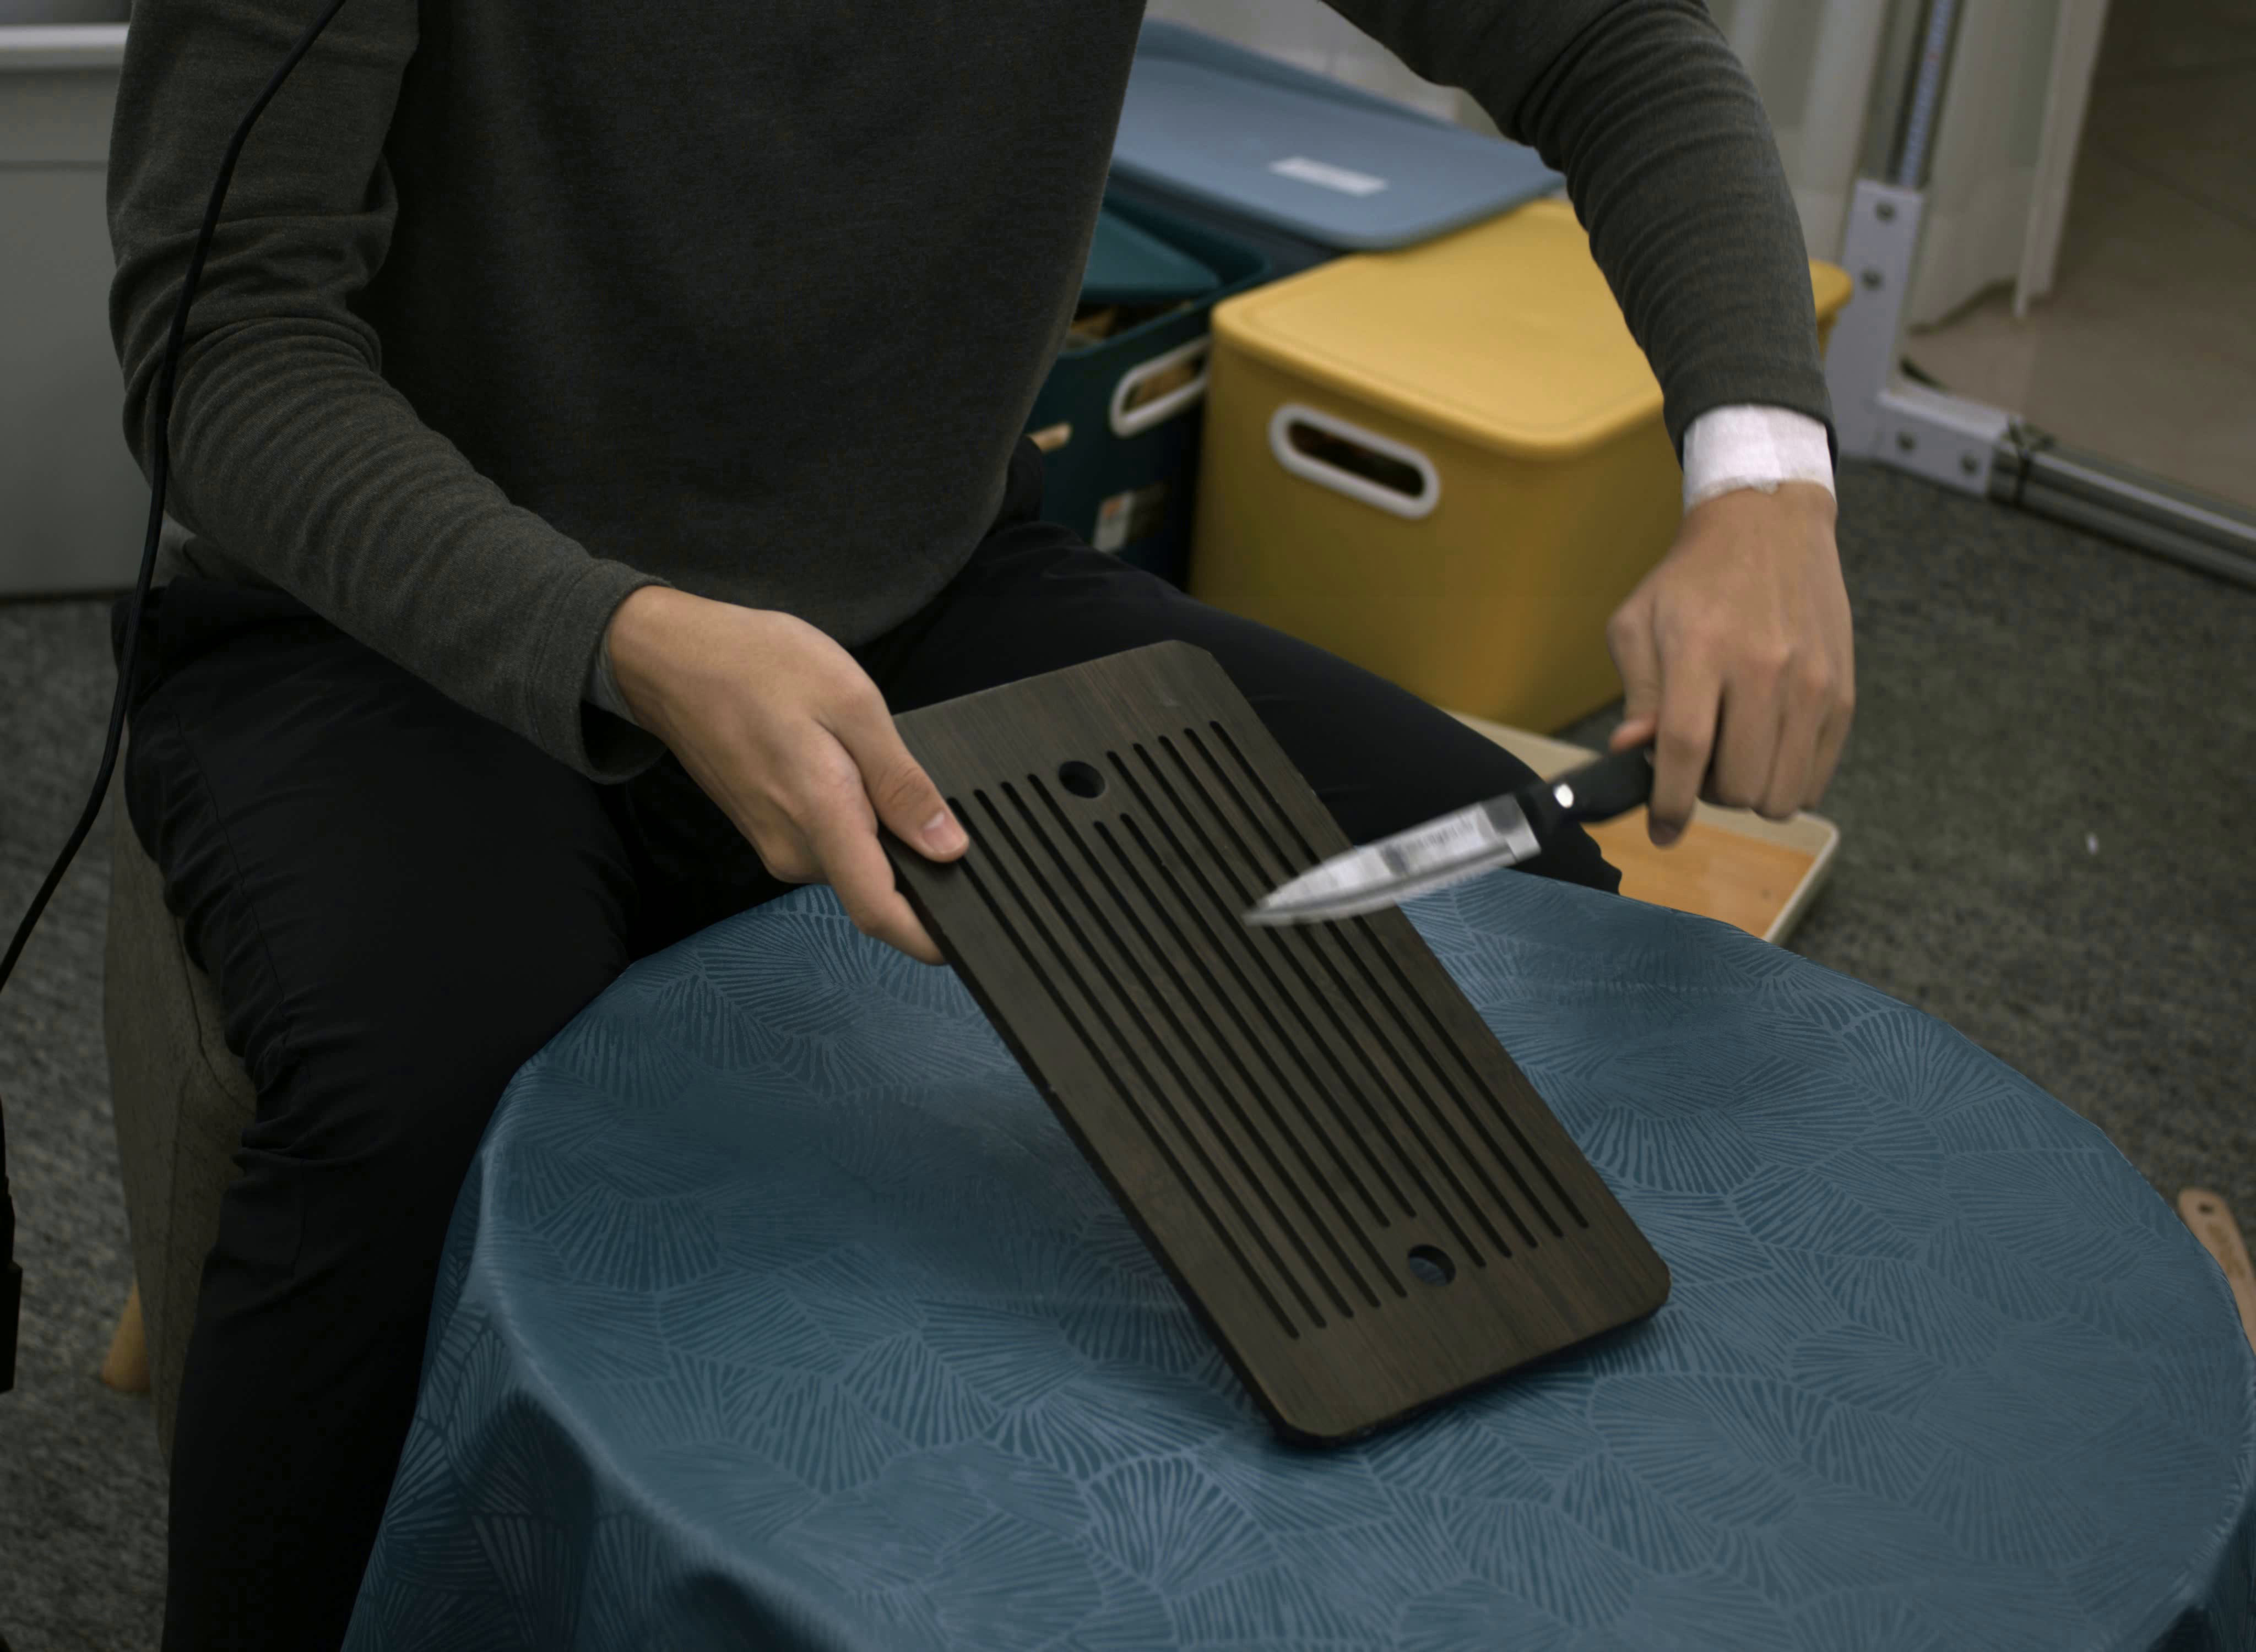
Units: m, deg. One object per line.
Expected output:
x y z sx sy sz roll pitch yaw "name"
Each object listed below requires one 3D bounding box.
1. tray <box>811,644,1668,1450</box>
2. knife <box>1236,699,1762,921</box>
0.034 0.068 1.777 0.169 0.018 0.308 -16 58 -35 "tray"
0.130 -0.006 1.867 0.237 0.016 0.024 -20 78 -32 "knife"
